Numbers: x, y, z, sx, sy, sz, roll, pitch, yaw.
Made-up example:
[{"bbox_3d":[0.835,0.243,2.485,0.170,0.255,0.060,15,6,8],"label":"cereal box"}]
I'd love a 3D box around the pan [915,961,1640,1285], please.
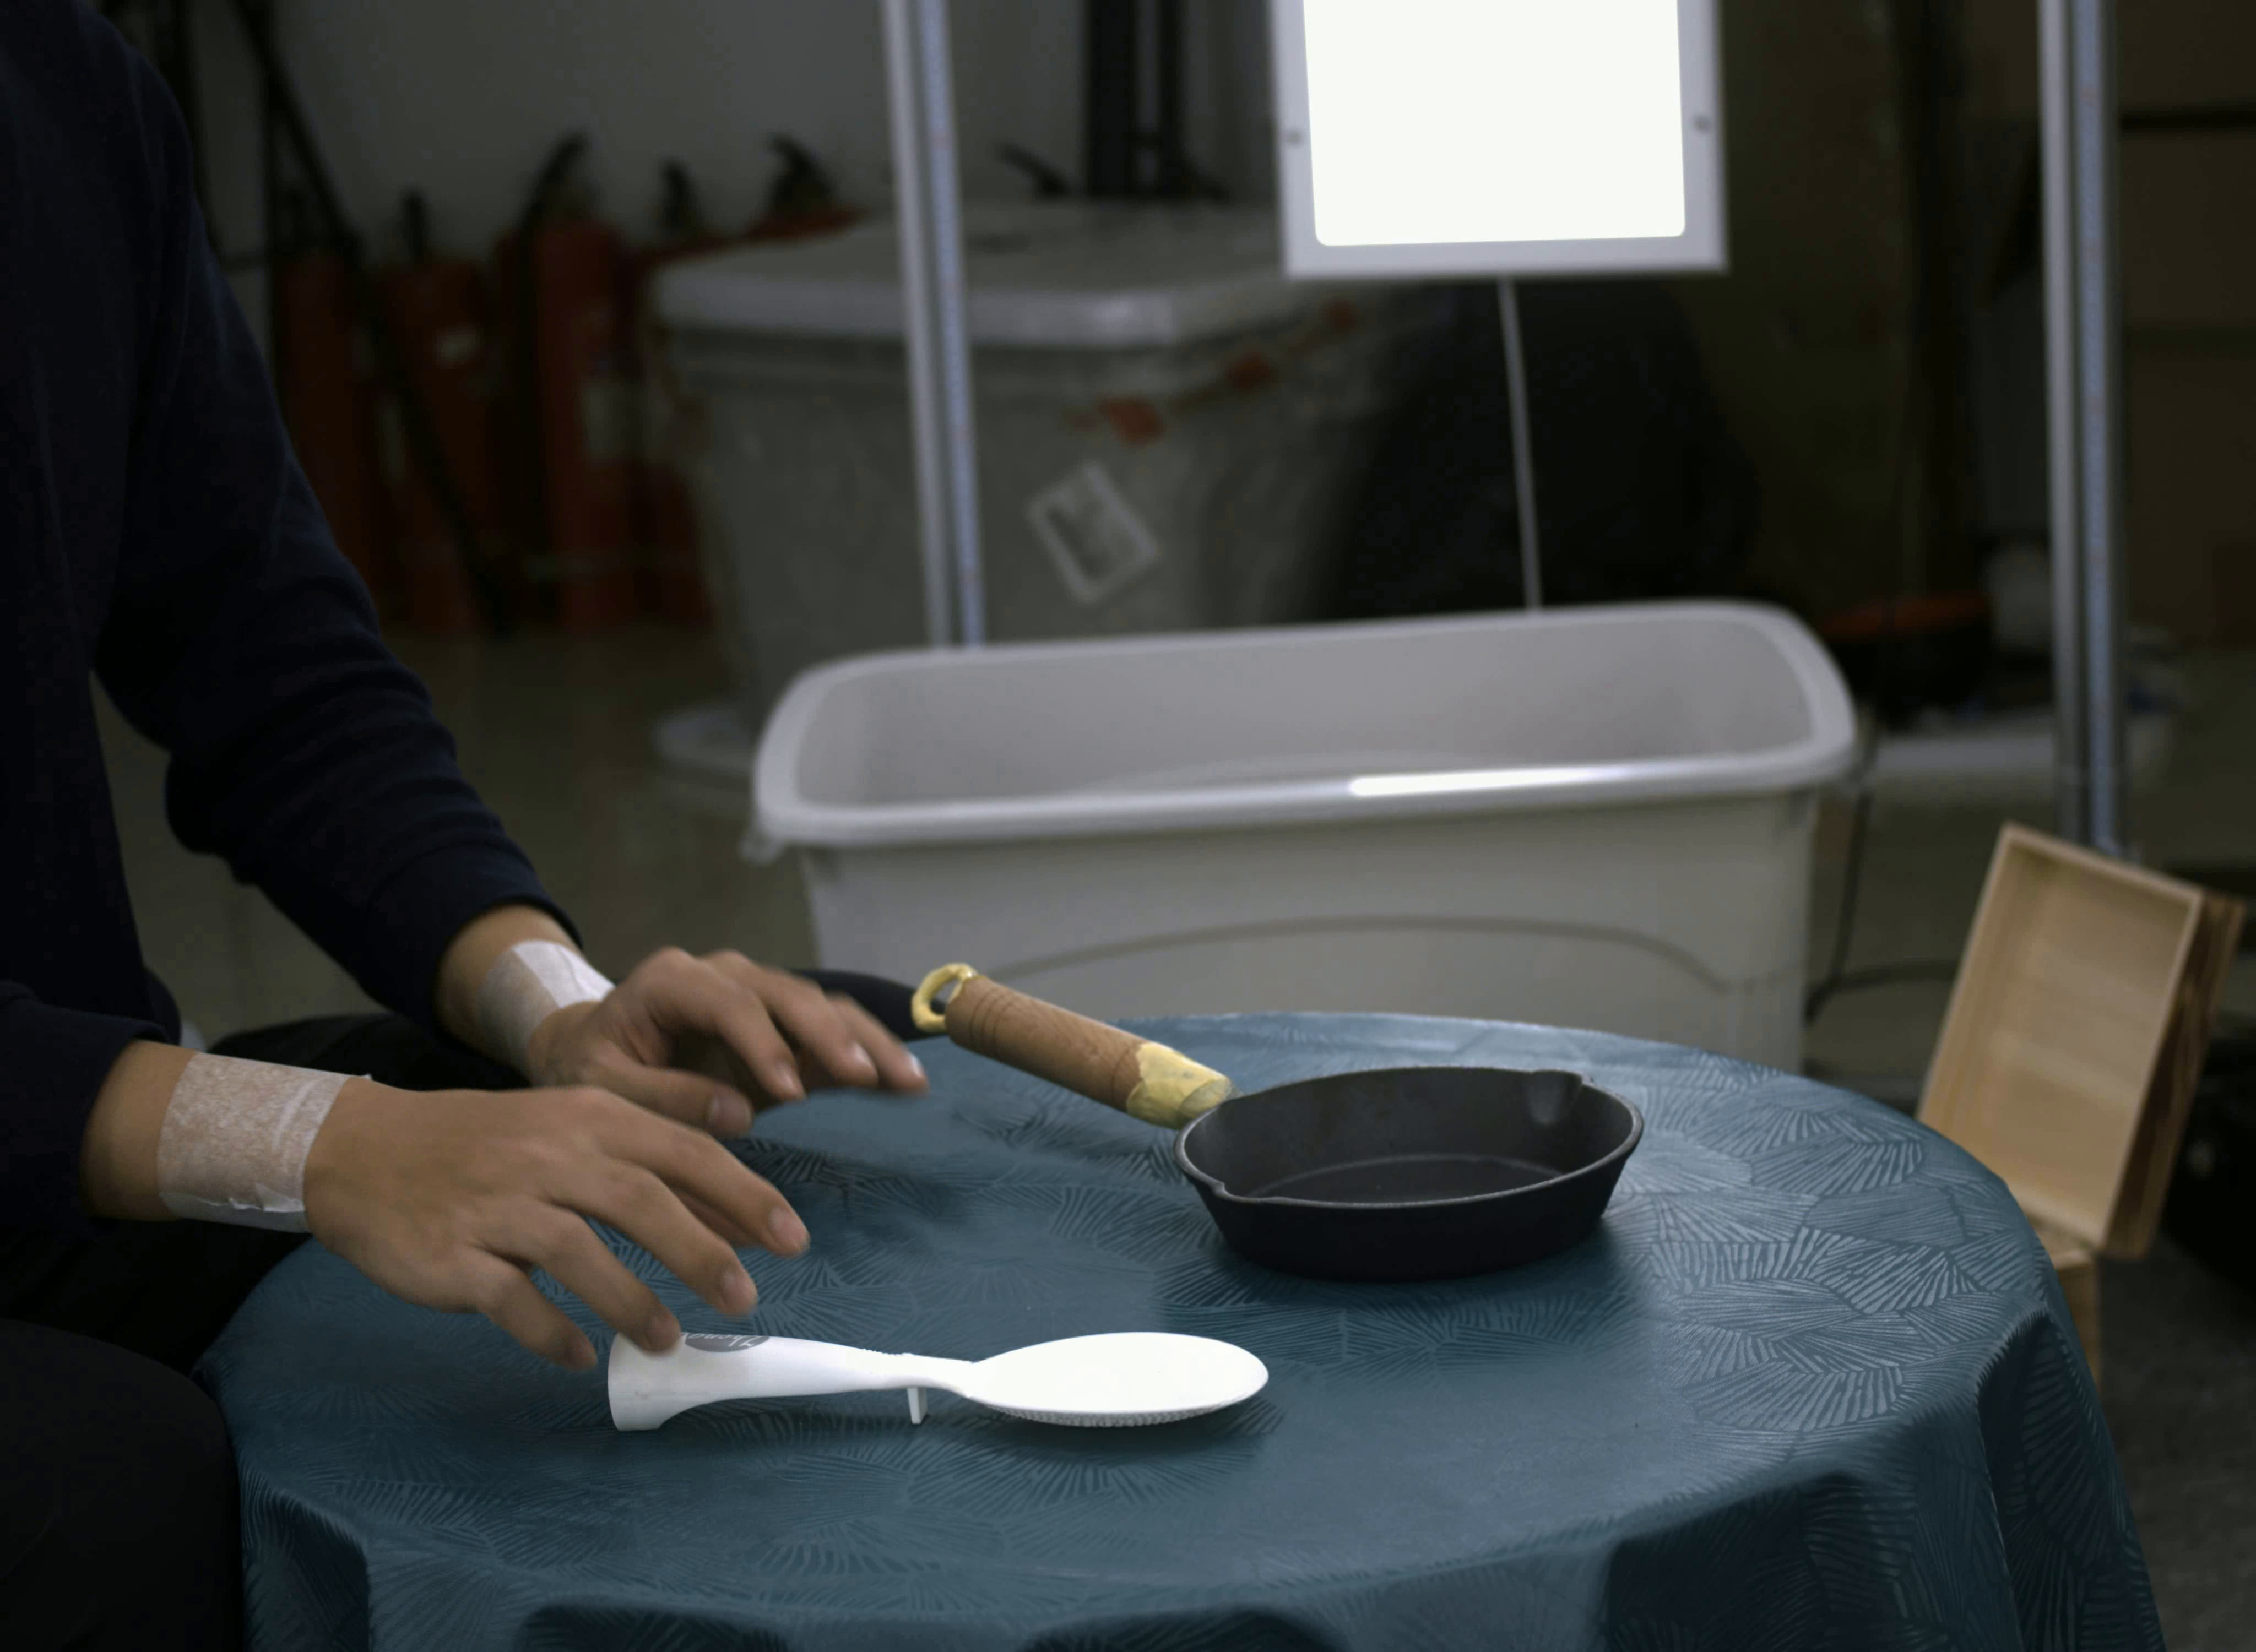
[{"bbox_3d":[0.038,0.097,1.896,0.164,0.050,0.331,-16,19,-38],"label":"pan"}]

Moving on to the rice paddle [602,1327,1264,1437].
[{"bbox_3d":[-0.059,0.168,1.690,0.206,0.029,0.068,-3,16,12],"label":"rice paddle"}]
